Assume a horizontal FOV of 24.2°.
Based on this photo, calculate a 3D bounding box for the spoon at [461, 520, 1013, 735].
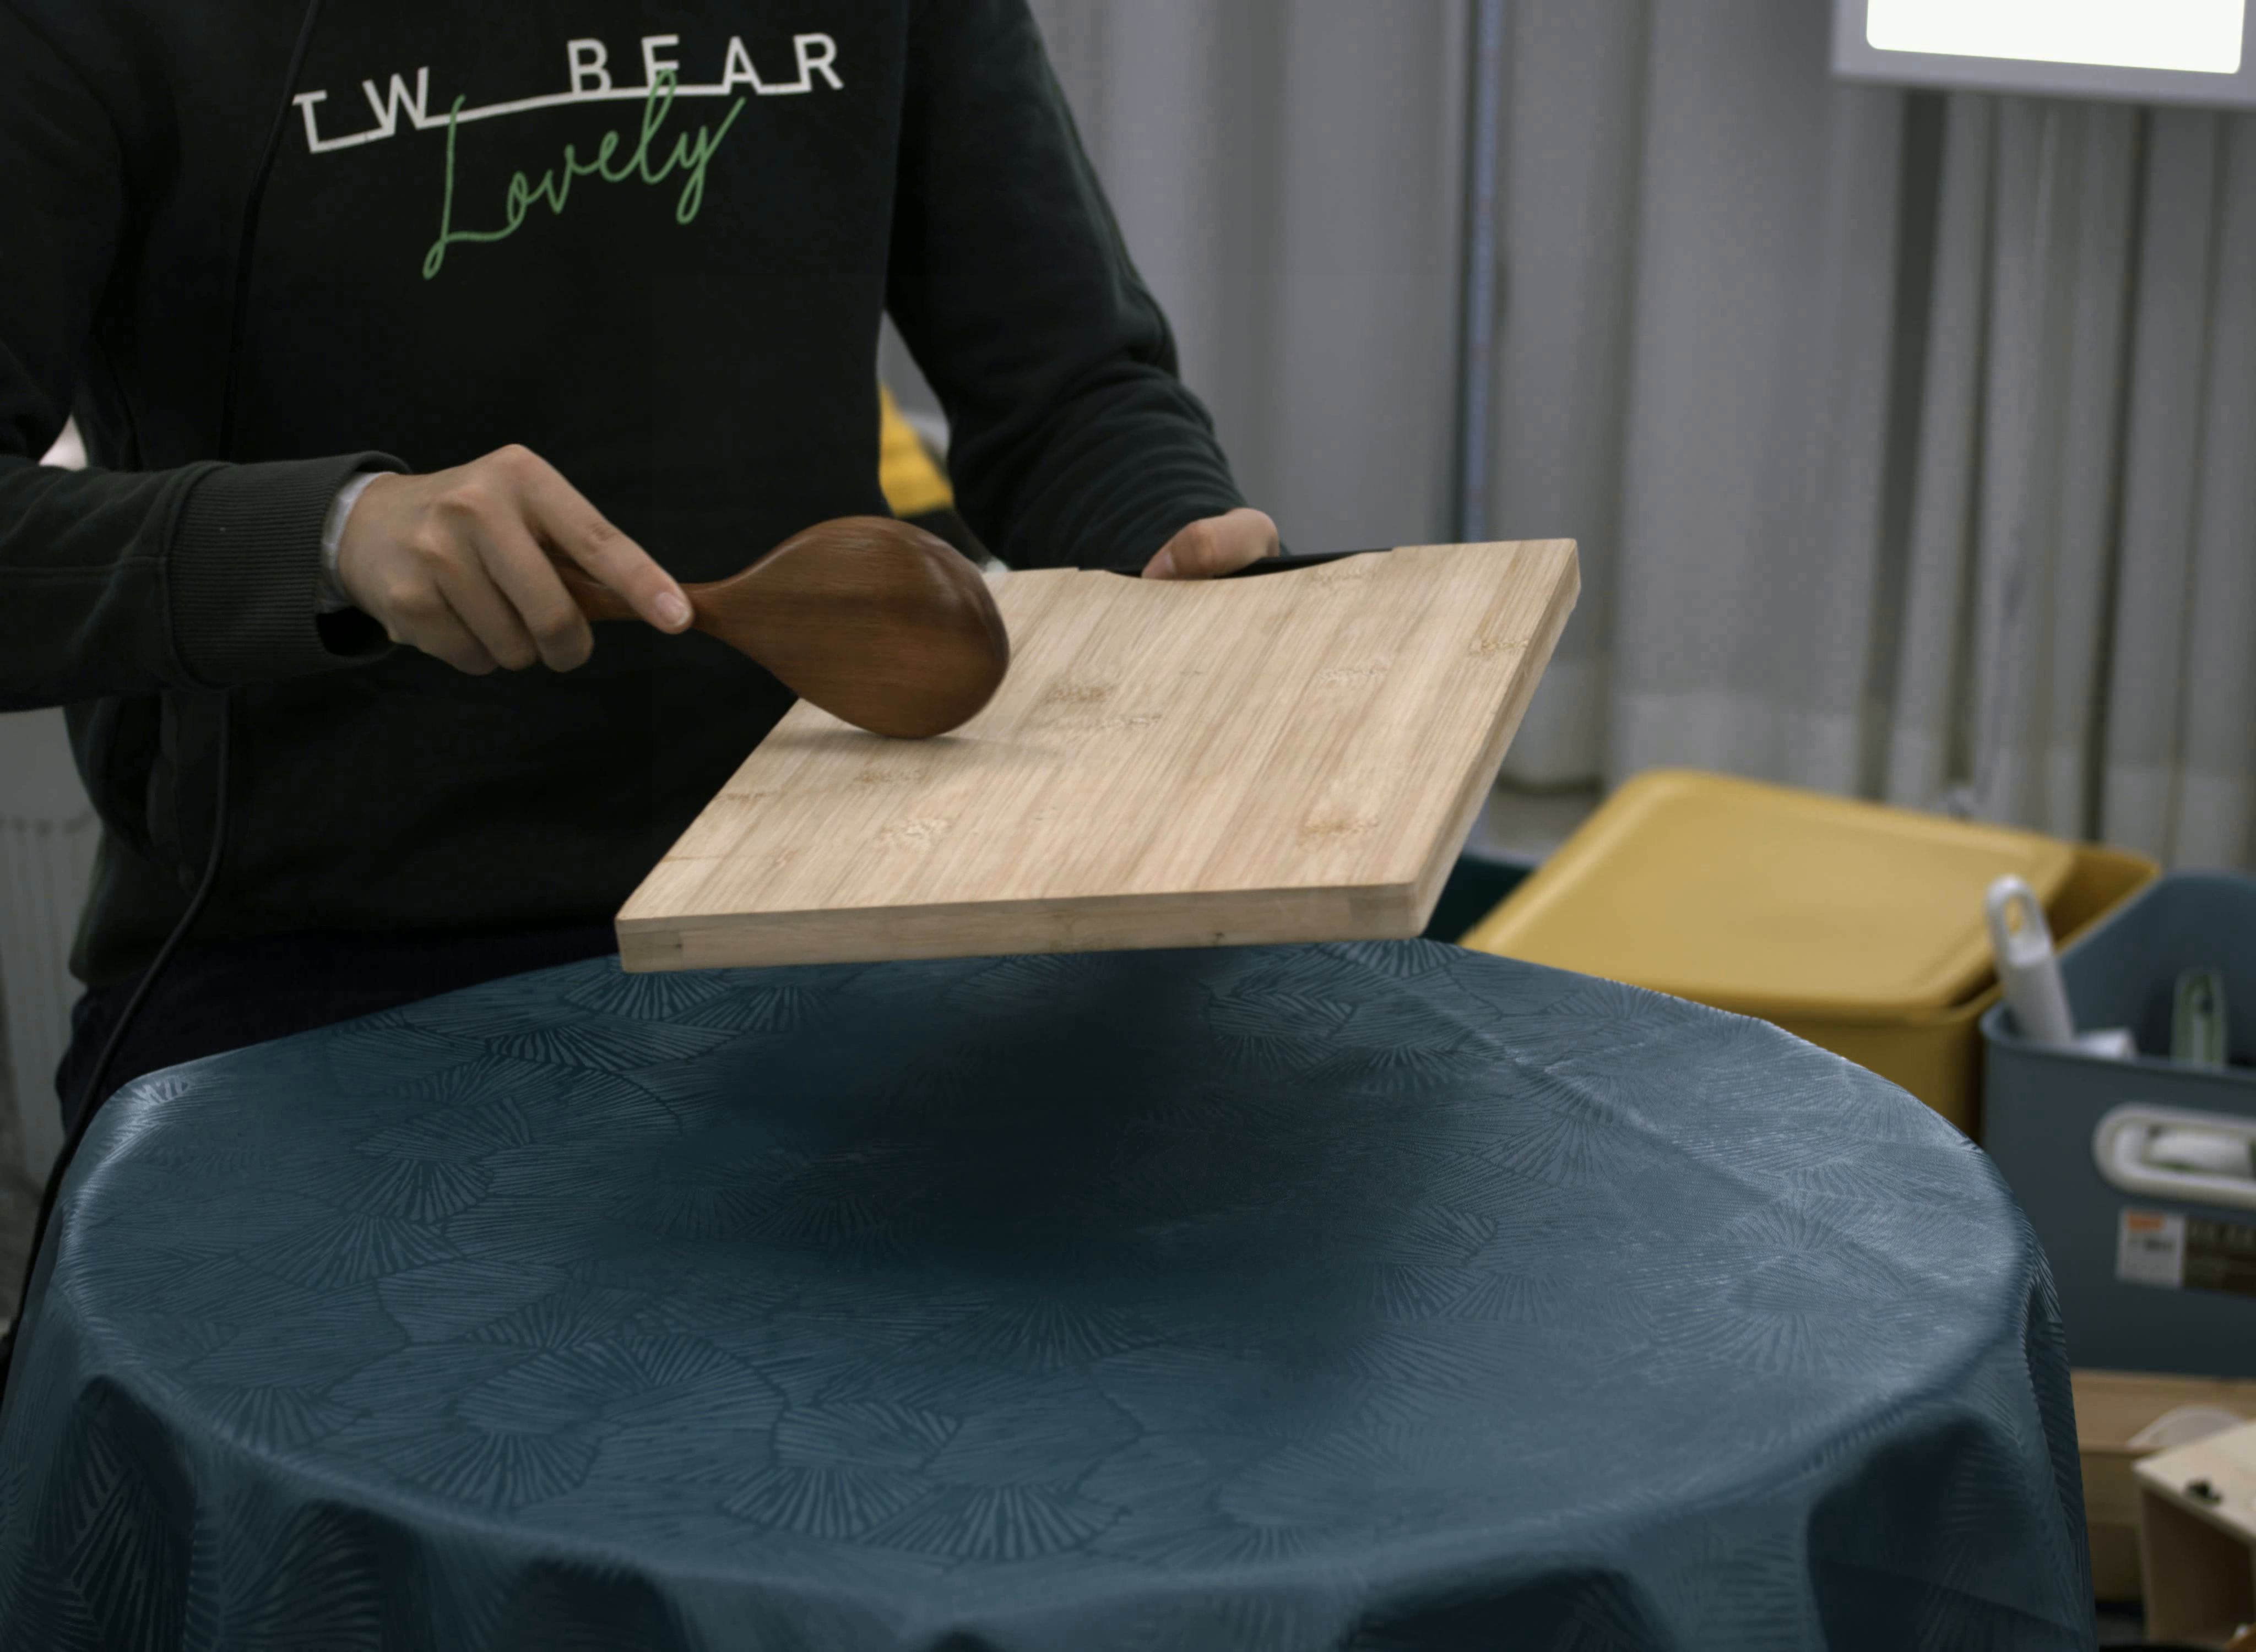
[{"bbox_3d":[-0.128,-0.068,1.681,0.213,0.076,0.017,9,31,32],"label":"spoon"}]

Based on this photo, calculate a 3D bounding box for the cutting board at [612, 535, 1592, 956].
[{"bbox_3d":[0.003,-0.029,1.669,0.249,0.024,0.347,-2,19,13],"label":"cutting board"}]
